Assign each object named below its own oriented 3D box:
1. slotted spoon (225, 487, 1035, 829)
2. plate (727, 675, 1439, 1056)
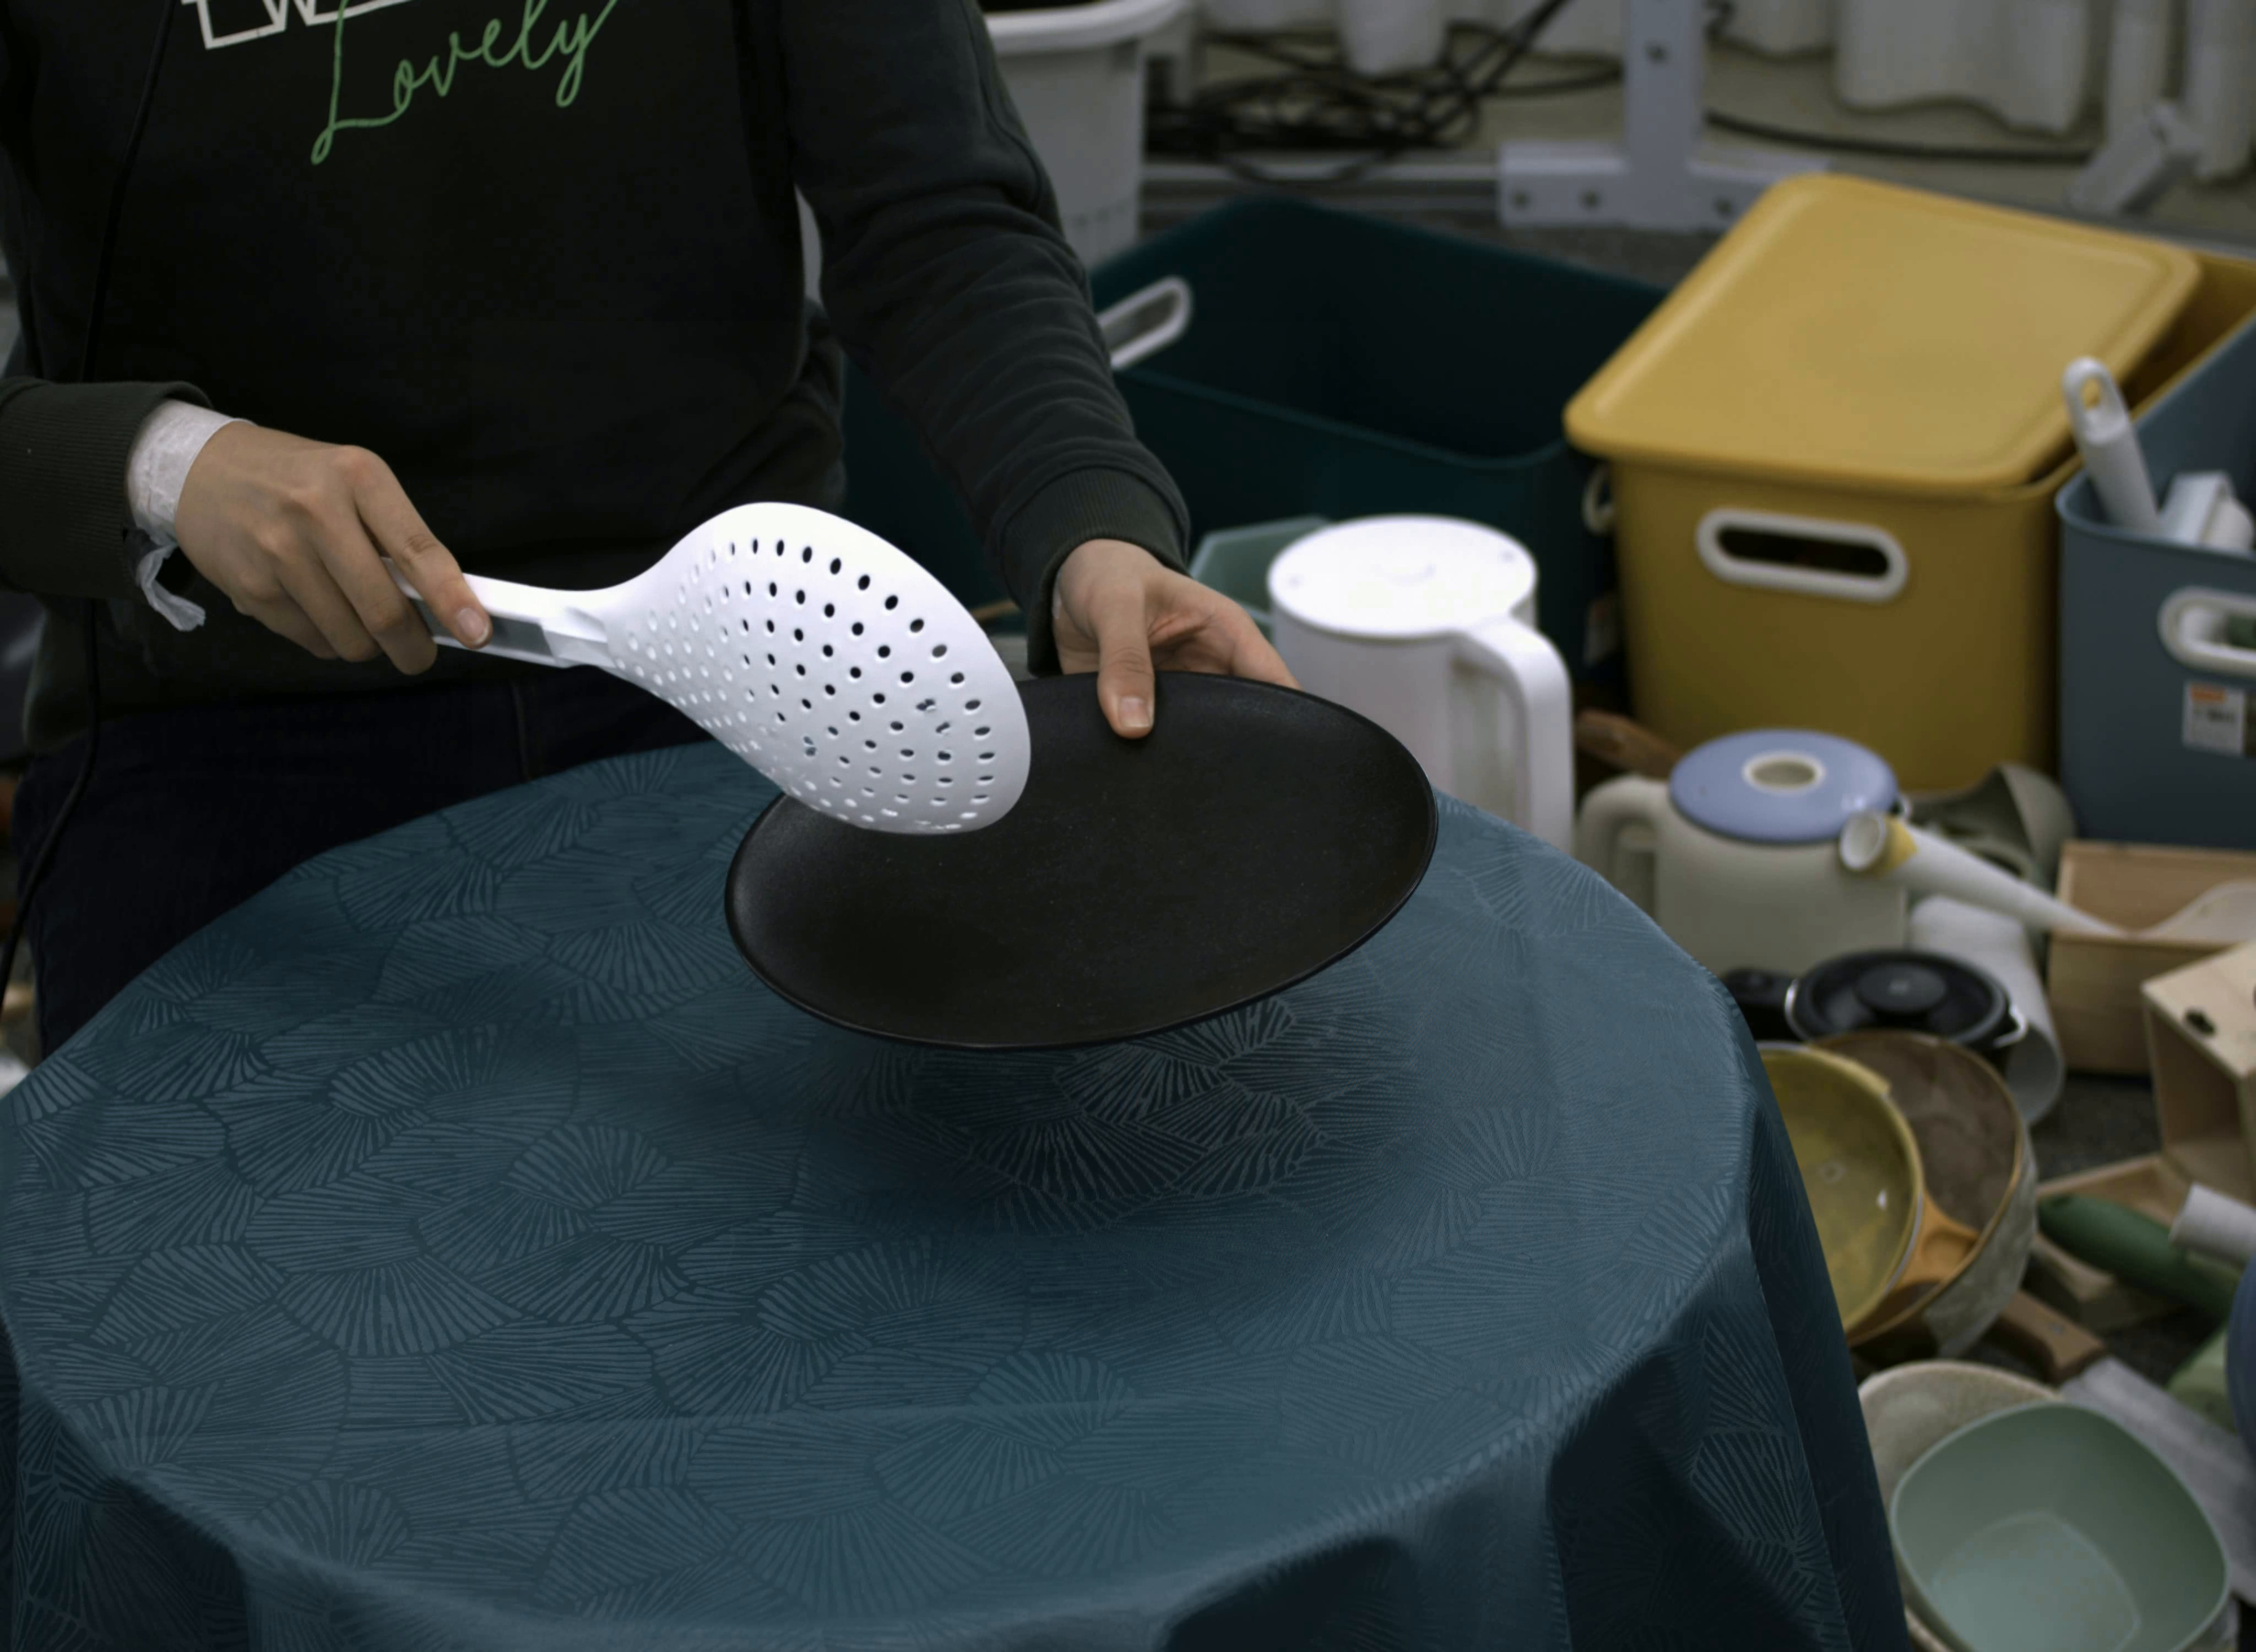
[{"bbox_3d":[-0.177,-0.066,1.902,0.348,0.134,0.046,14,45,39],"label":"slotted spoon"},{"bbox_3d":[-0.014,0.017,1.899,0.243,0.023,0.248,-6,29,4],"label":"plate"}]
